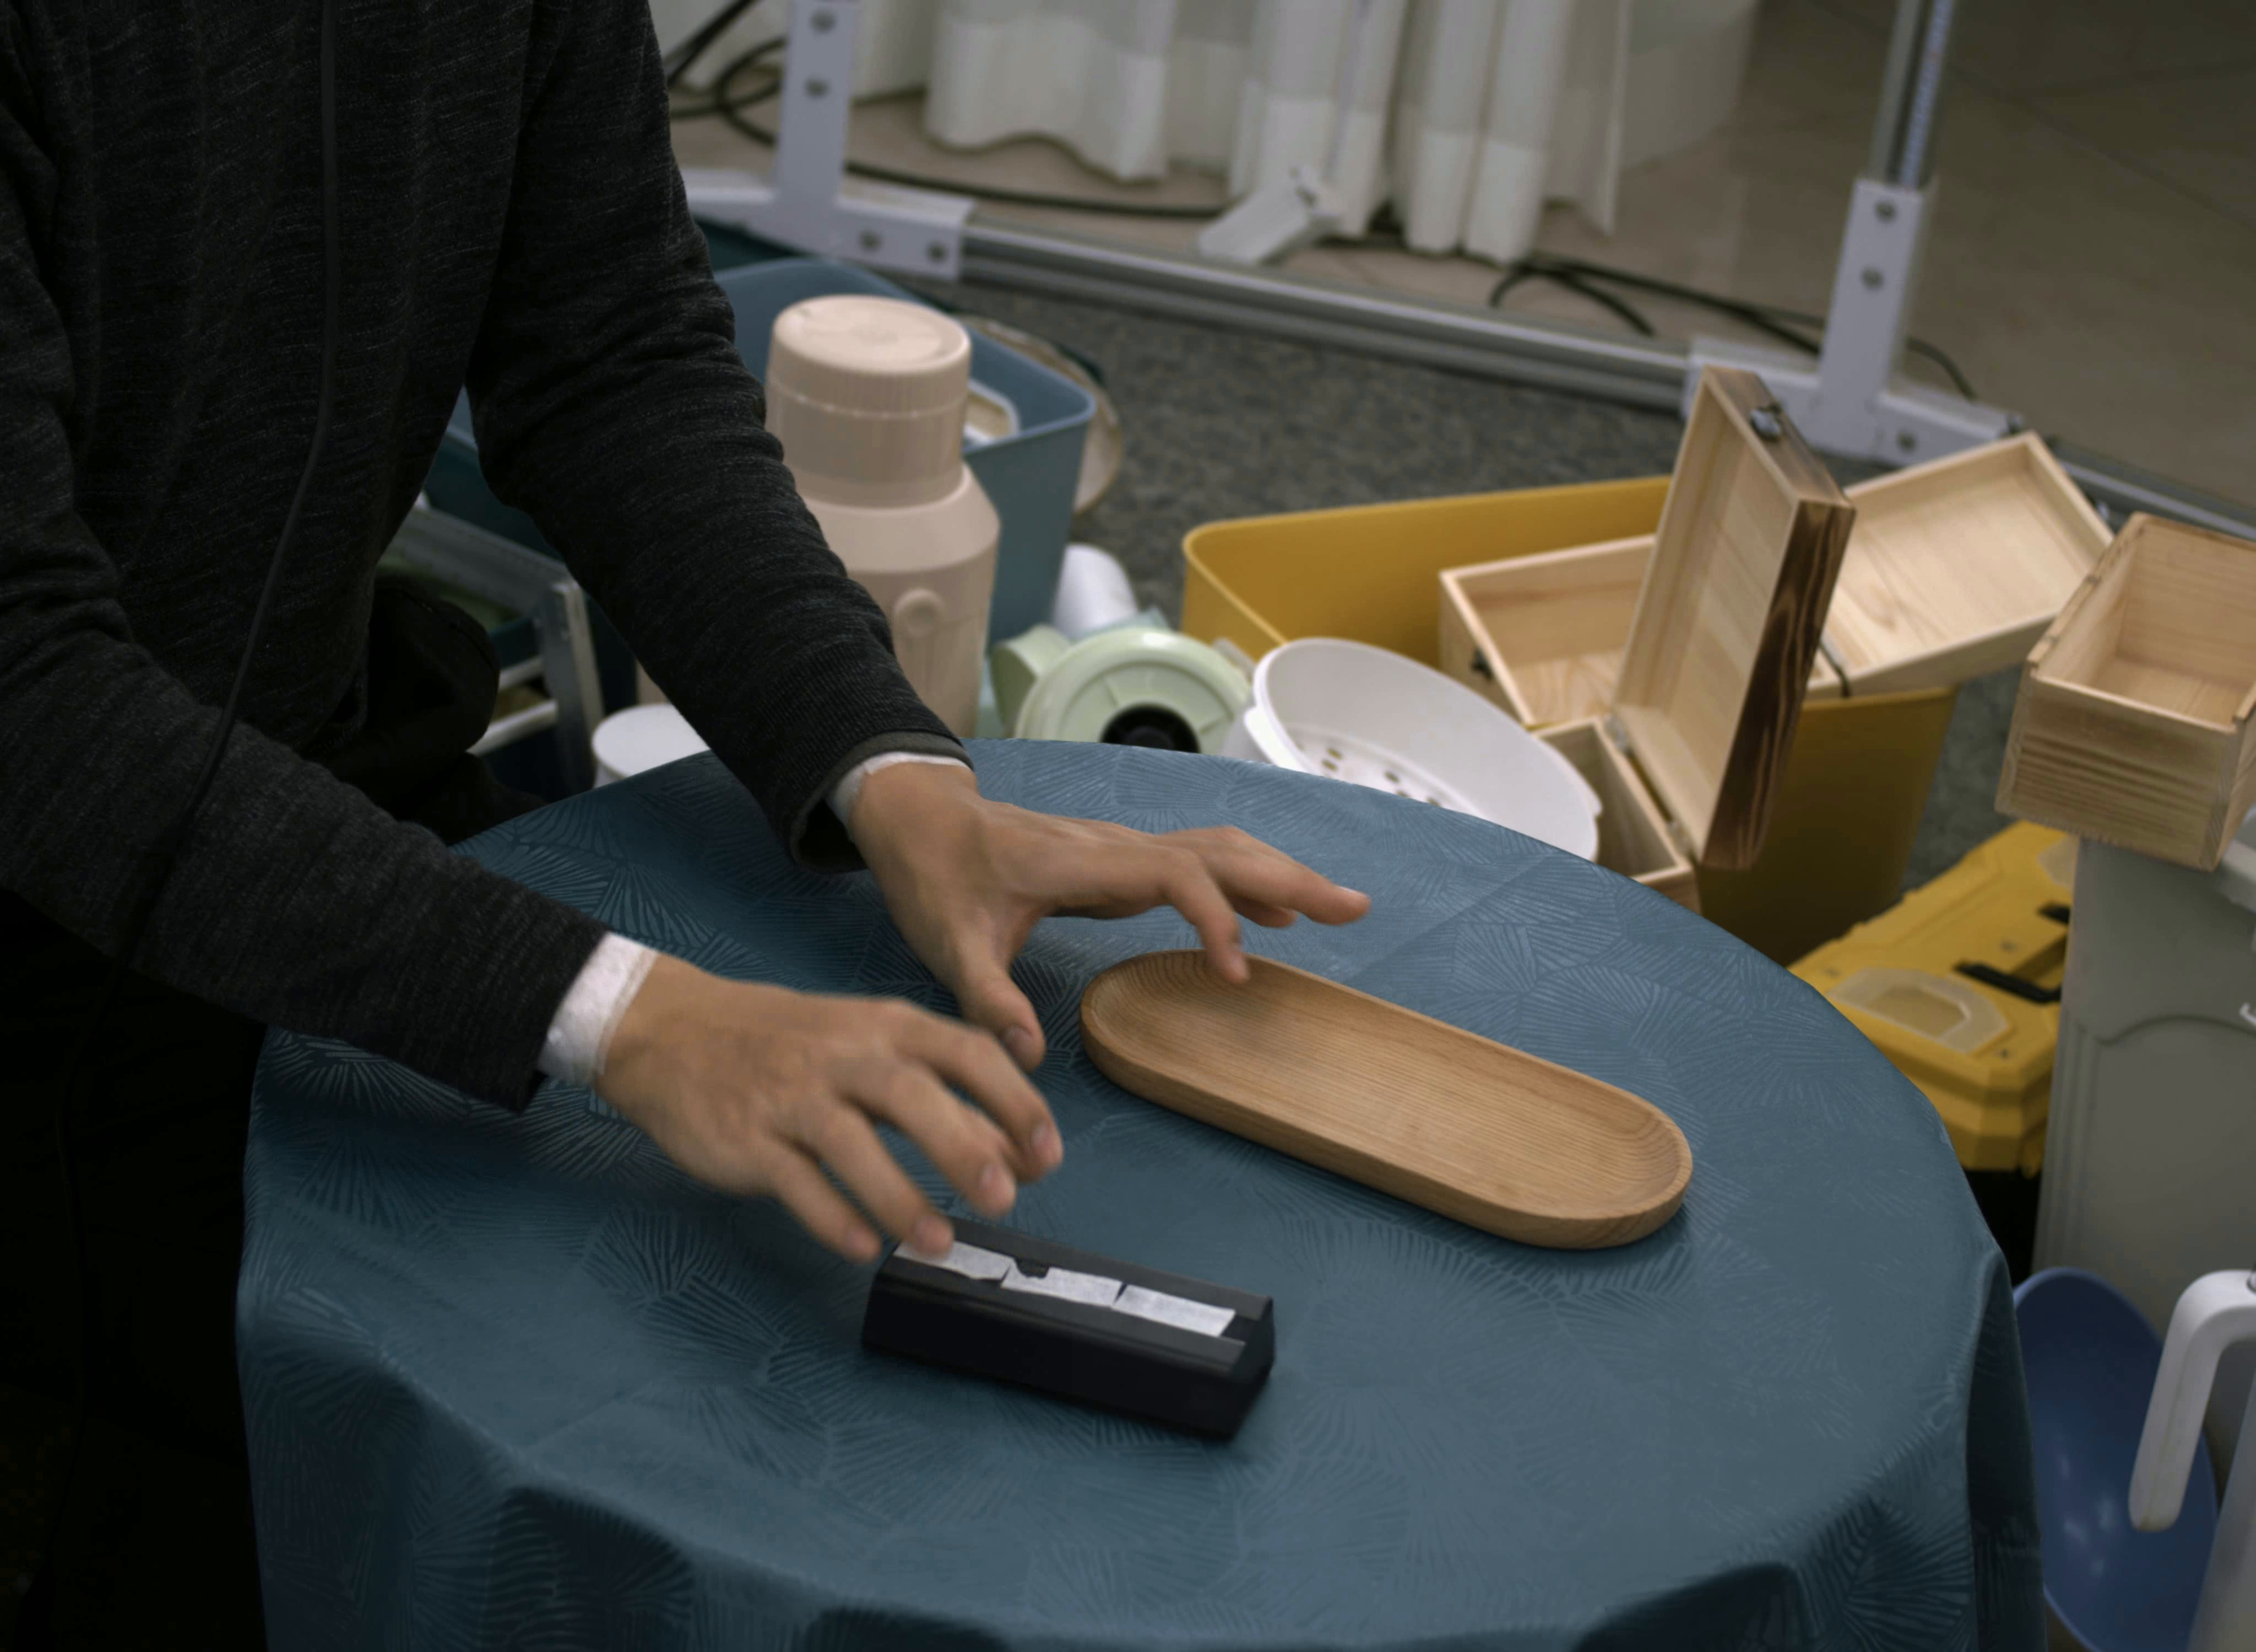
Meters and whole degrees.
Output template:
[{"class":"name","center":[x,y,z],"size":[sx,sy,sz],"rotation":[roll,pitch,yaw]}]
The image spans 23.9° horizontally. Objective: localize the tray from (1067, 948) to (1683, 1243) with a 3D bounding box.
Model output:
[{"class":"tray","center":[0.084,0.093,1.862],"size":[0.232,0.020,0.101],"rotation":[18,28,25]}]

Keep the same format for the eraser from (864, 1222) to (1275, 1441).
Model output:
[{"class":"eraser","center":[-0.018,0.160,1.695],"size":[0.125,0.030,0.053],"rotation":[12,25,13]}]
